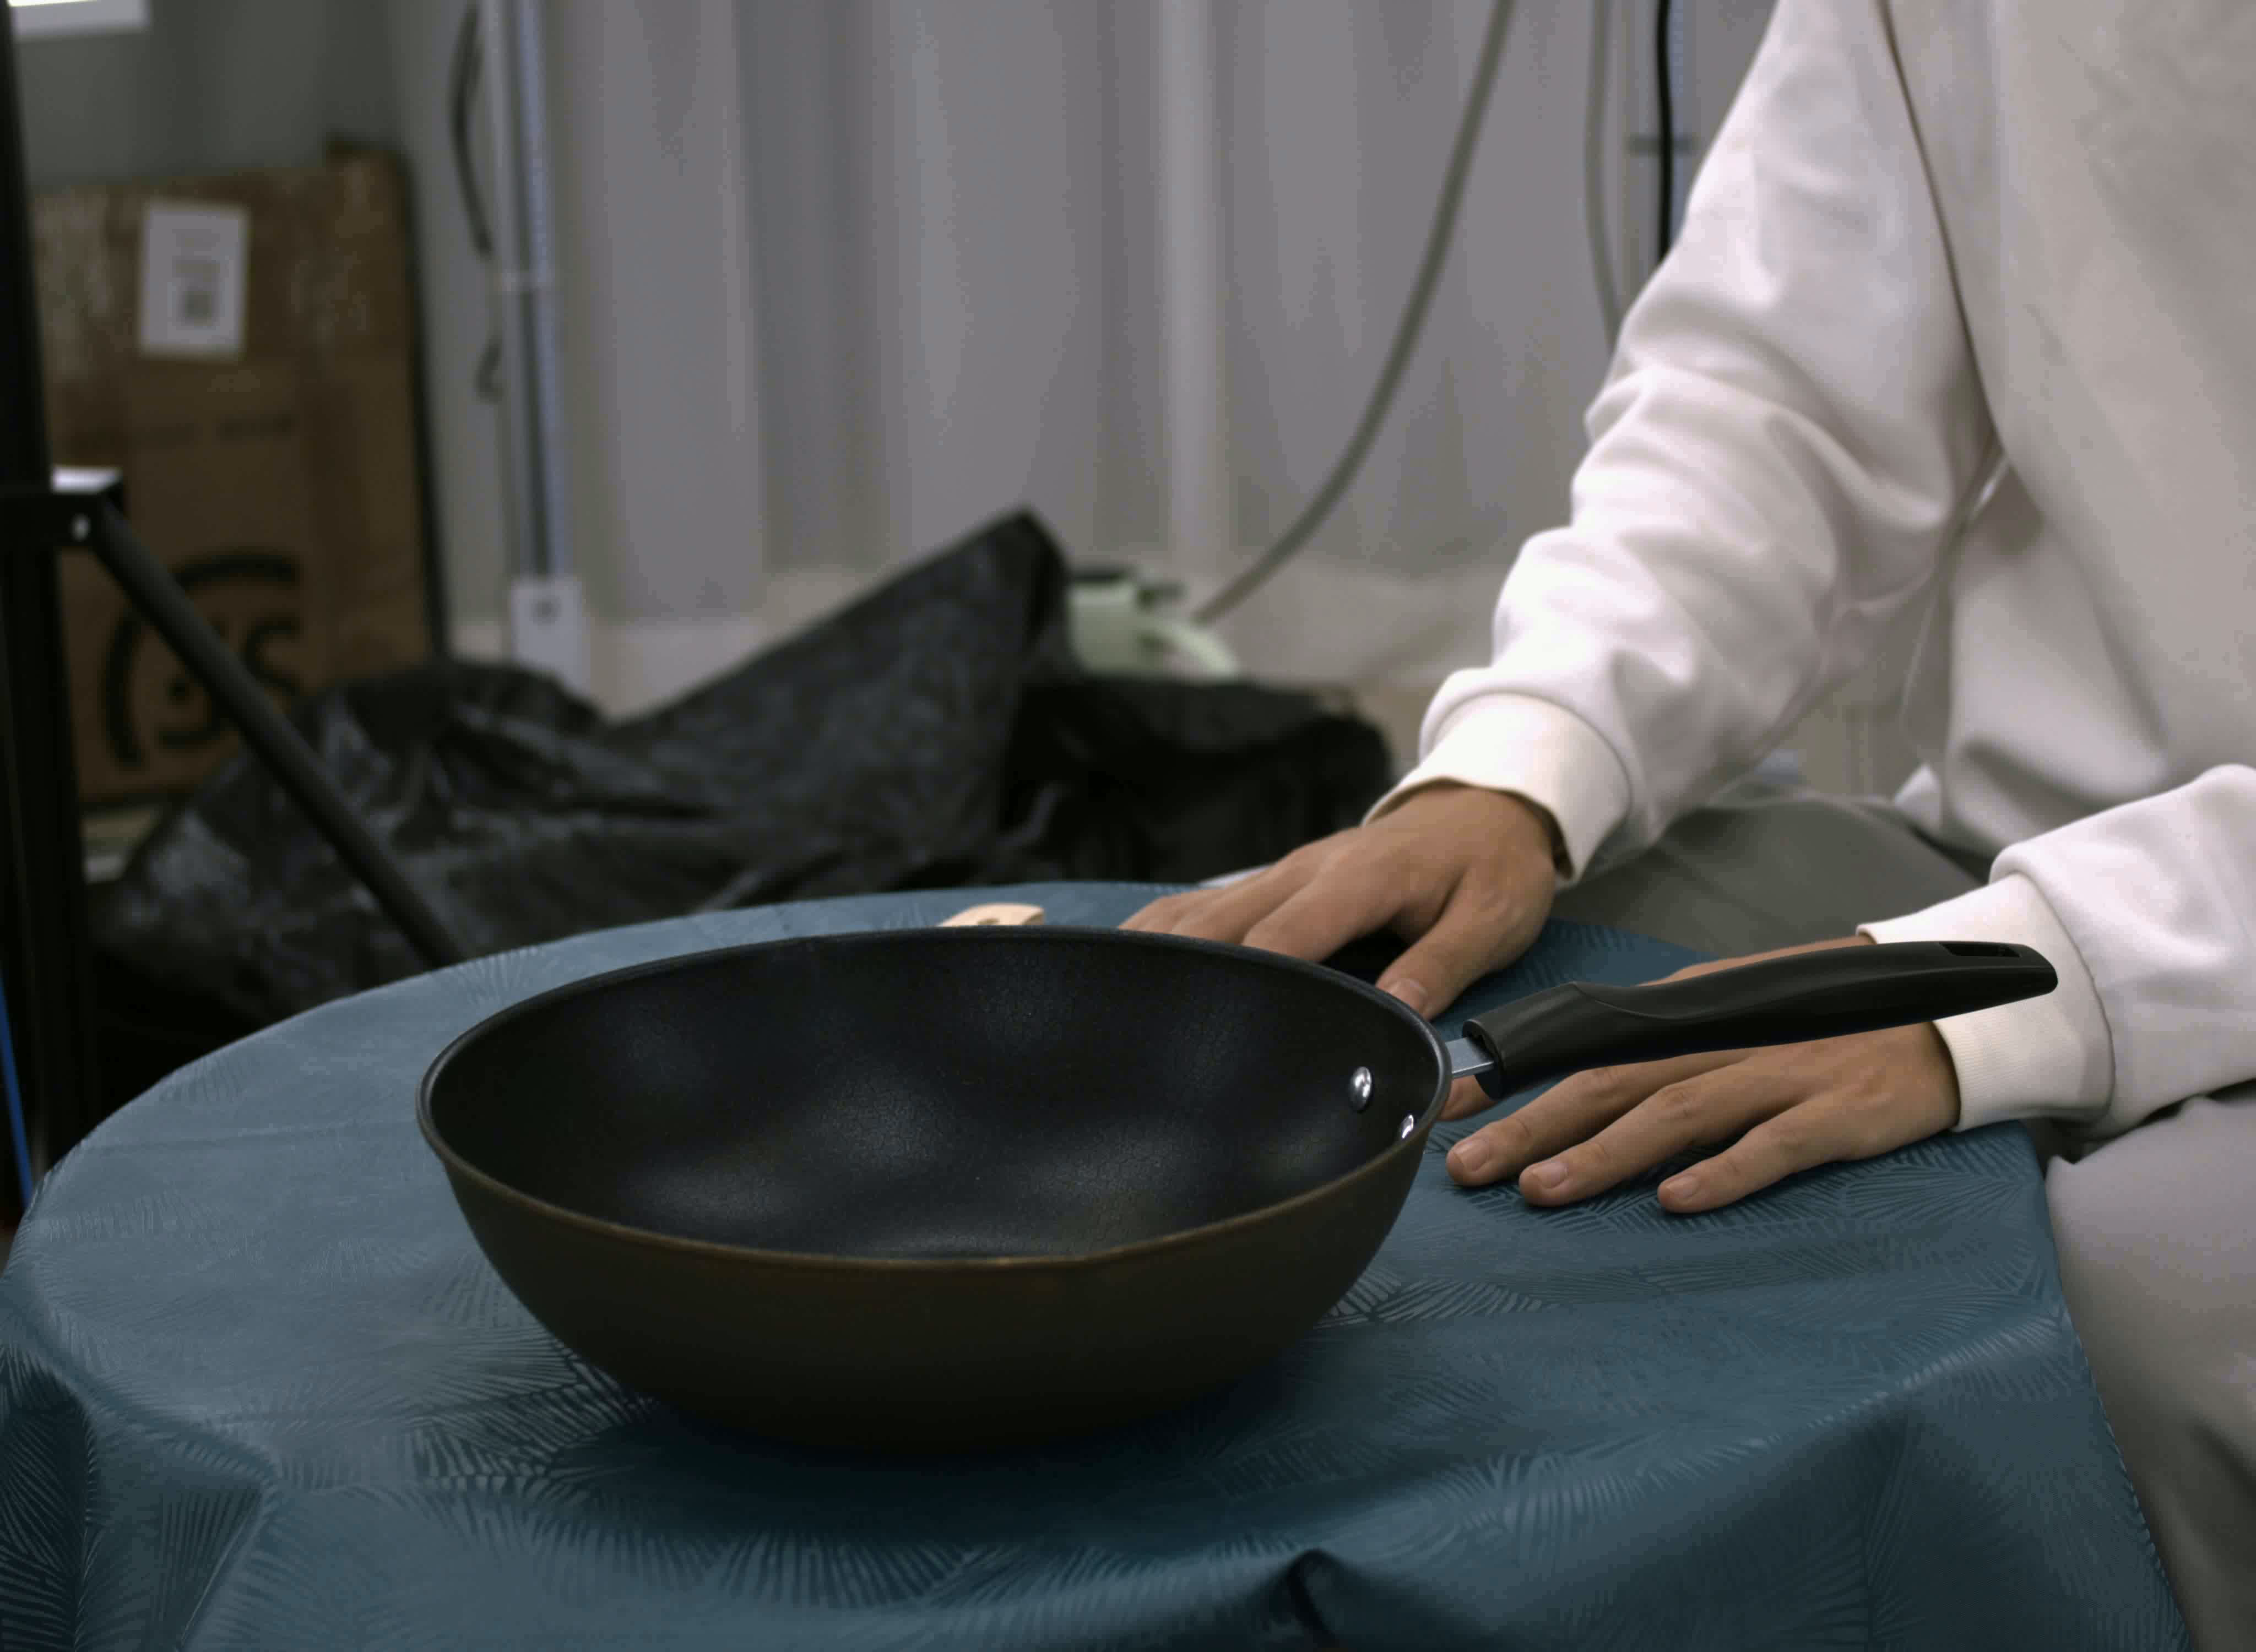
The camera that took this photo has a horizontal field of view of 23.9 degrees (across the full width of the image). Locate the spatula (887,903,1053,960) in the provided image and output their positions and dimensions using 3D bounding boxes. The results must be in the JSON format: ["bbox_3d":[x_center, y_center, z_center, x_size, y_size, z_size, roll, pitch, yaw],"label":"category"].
[{"bbox_3d":[-0.104,0.067,1.706,0.073,0.010,0.288,5,18,29],"label":"spatula"}]

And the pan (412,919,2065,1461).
[{"bbox_3d":[0.036,0.095,1.450,0.456,0.087,0.292,-5,17,-13],"label":"pan"}]
